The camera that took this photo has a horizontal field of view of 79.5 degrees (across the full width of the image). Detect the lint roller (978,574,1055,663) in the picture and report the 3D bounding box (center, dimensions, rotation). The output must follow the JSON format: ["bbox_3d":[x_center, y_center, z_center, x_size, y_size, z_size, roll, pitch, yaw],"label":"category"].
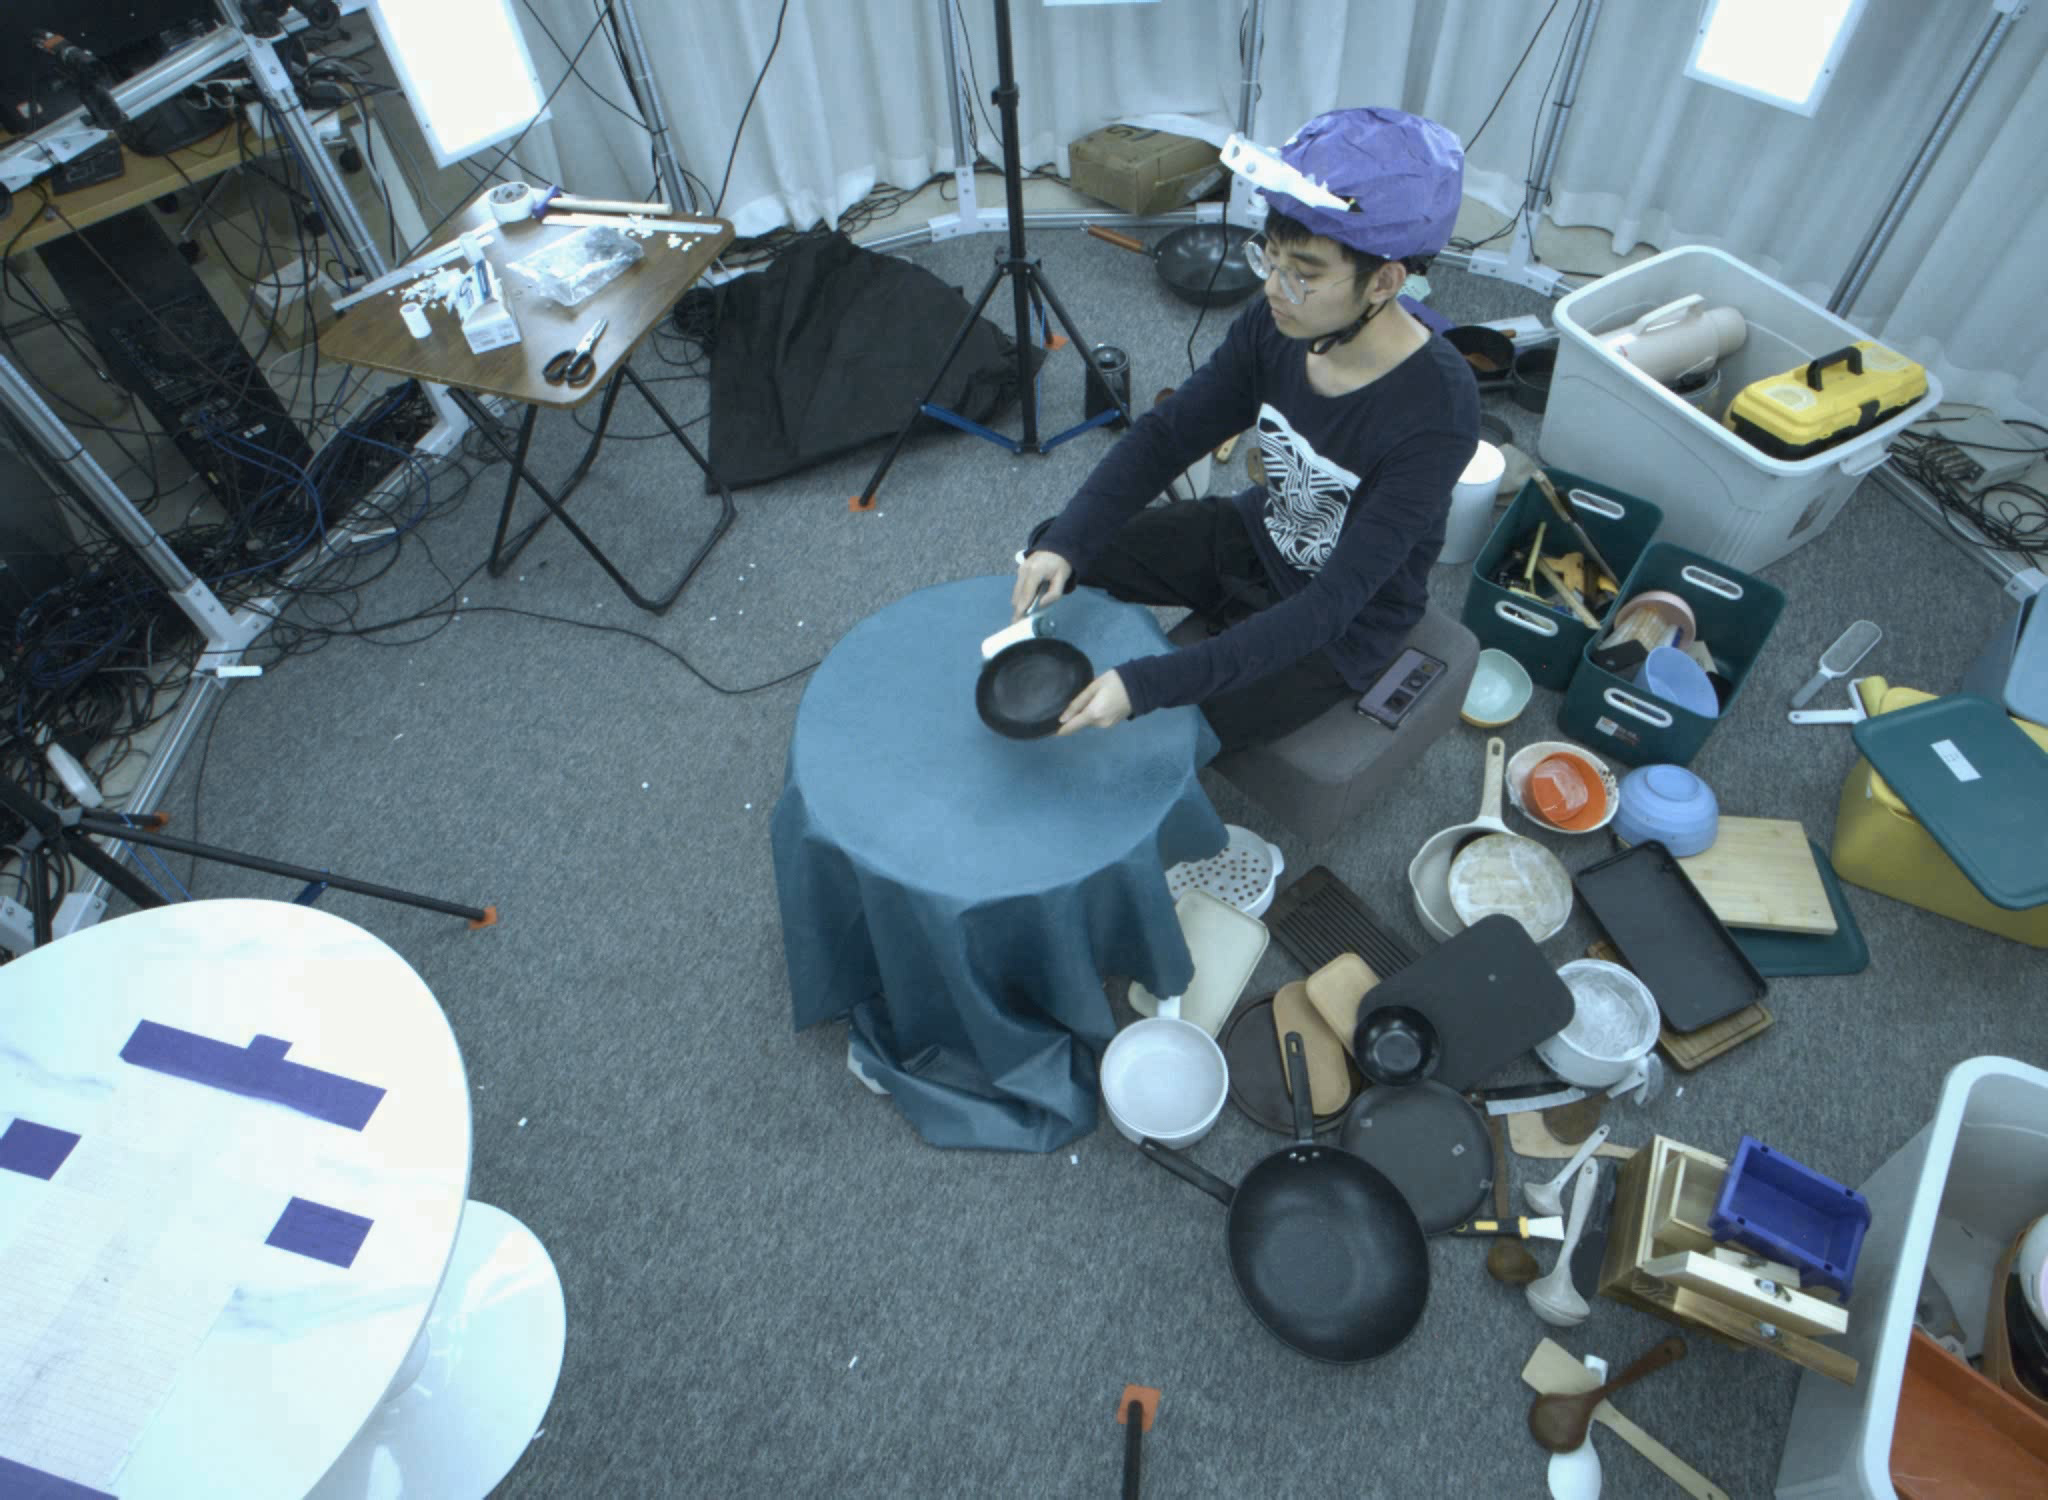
[{"bbox_3d":[0.004,-0.208,1.778,0.132,0.049,0.179,-25,35,40],"label":"lint roller"}]

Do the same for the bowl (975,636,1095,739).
[{"bbox_3d":[0.013,-0.093,1.710,0.170,0.138,0.066,-24,14,0],"label":"bowl"}]
